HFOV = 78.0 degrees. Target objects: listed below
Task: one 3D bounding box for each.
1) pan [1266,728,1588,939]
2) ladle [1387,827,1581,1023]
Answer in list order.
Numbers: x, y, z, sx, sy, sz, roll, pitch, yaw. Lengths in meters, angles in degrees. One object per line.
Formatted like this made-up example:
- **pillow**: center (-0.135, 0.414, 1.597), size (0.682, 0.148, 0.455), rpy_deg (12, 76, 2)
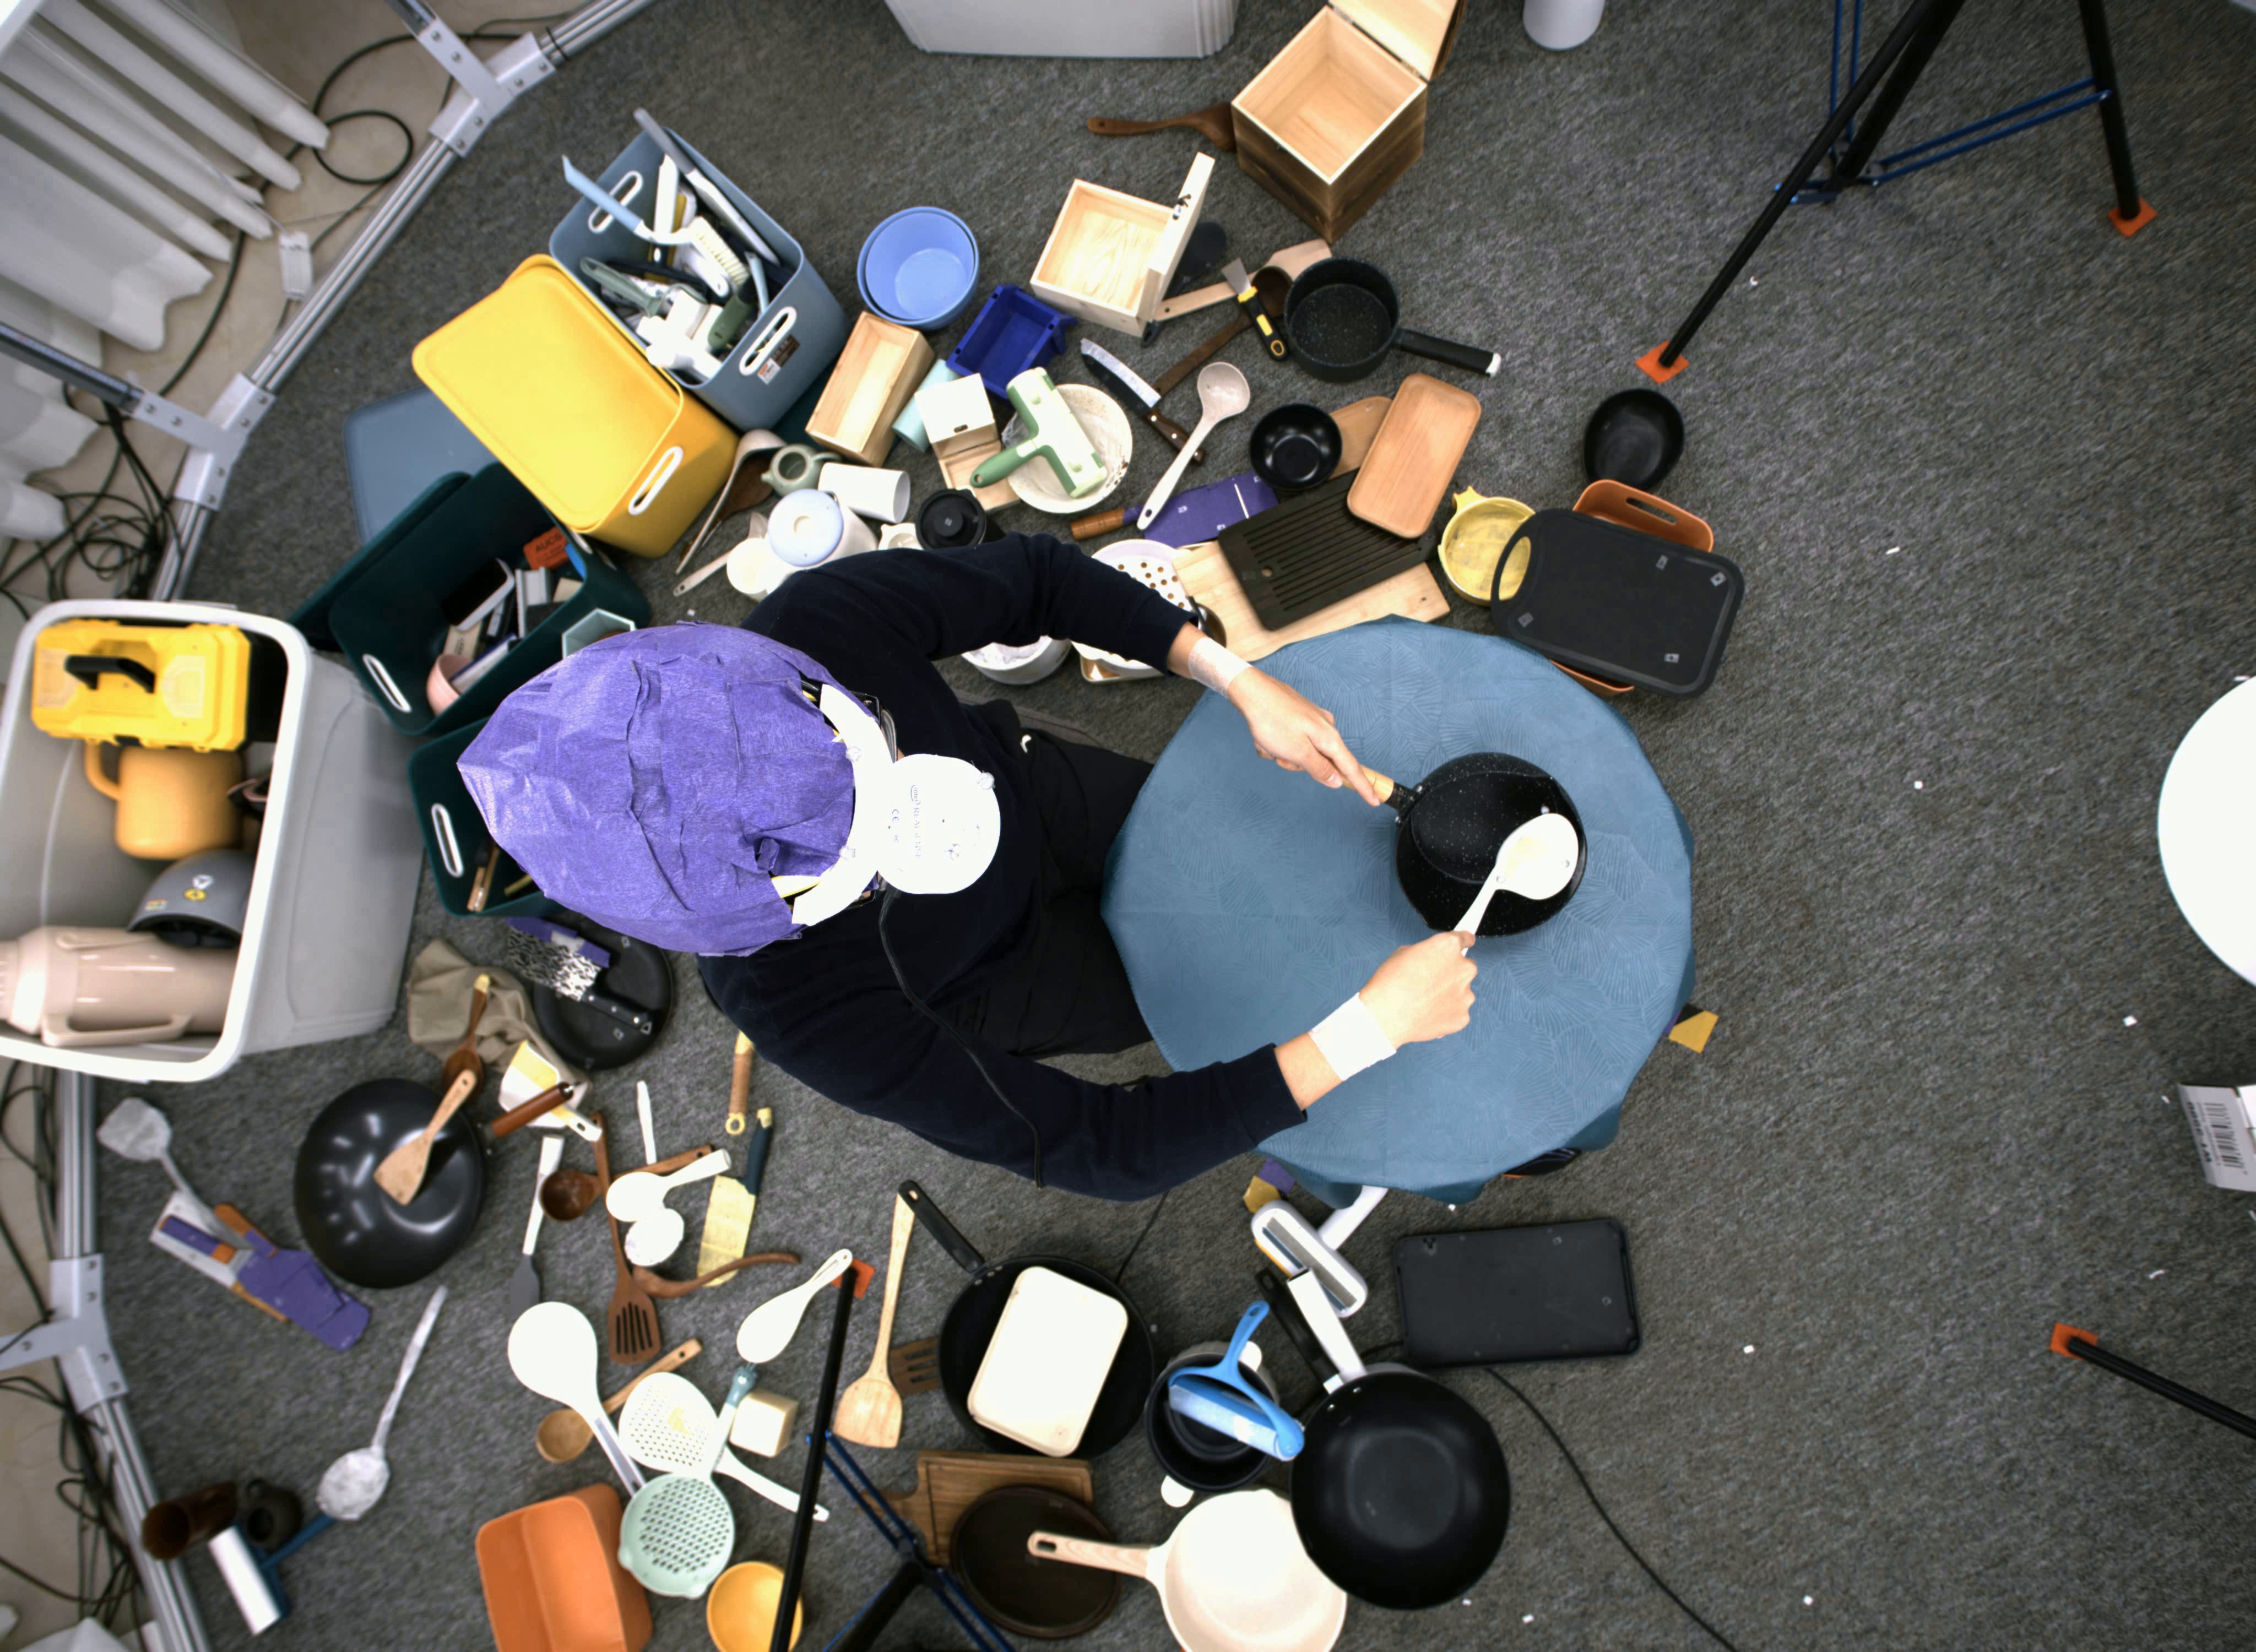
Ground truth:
- **pan**: center (0.286, -0.022, 1.355), size (0.343, 0.105, 0.212), rpy_deg (27, 121, -6)
- **ladle**: center (0.335, 0.091, 1.275), size (0.070, 0.286, 0.092), rpy_deg (17, 129, 32)
